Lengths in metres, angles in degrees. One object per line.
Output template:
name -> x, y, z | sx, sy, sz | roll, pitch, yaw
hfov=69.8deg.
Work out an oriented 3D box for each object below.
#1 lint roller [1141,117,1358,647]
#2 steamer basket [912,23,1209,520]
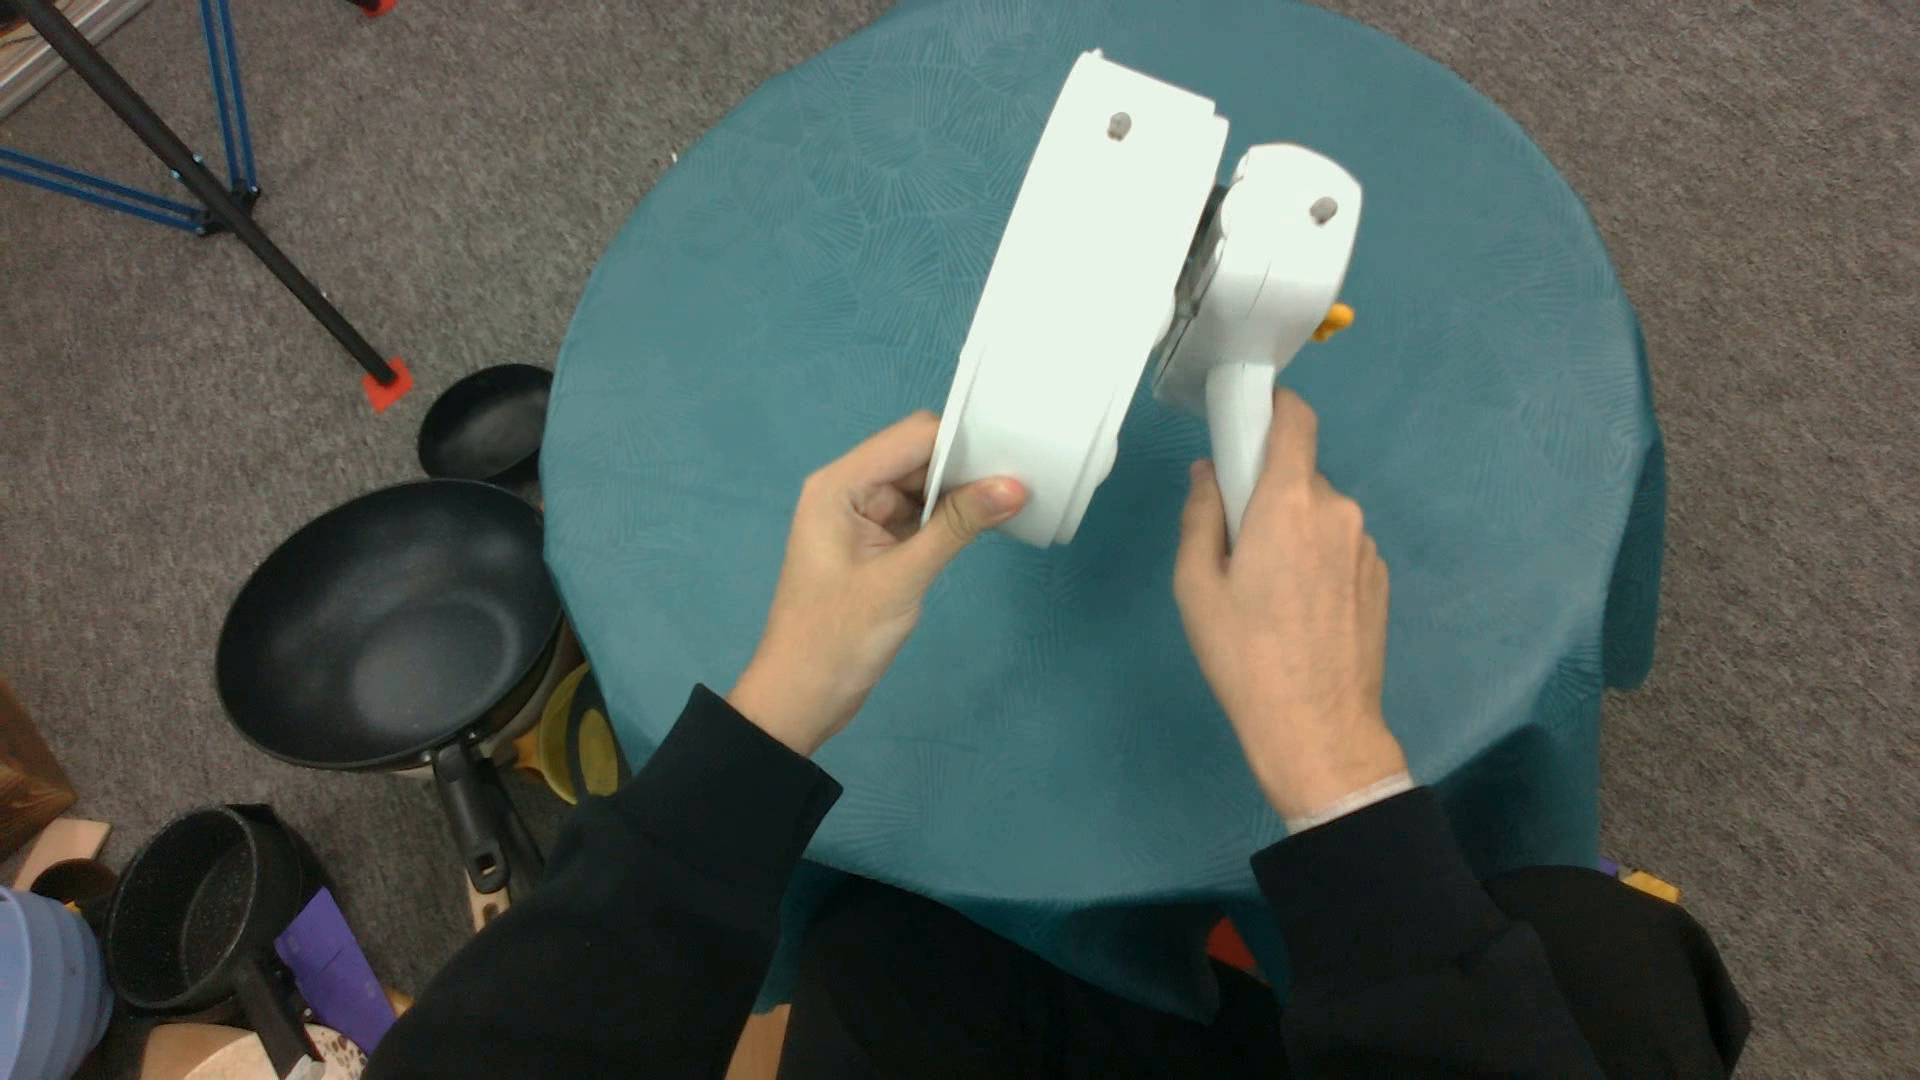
lint roller -> 0.115, -0.053, 0.572 | 0.074, 0.192, 0.192 | 6, 84, -4
steamer basket -> 0.044, -0.107, 0.579 | 0.069, 0.201, 0.231 | 19, 62, 2
